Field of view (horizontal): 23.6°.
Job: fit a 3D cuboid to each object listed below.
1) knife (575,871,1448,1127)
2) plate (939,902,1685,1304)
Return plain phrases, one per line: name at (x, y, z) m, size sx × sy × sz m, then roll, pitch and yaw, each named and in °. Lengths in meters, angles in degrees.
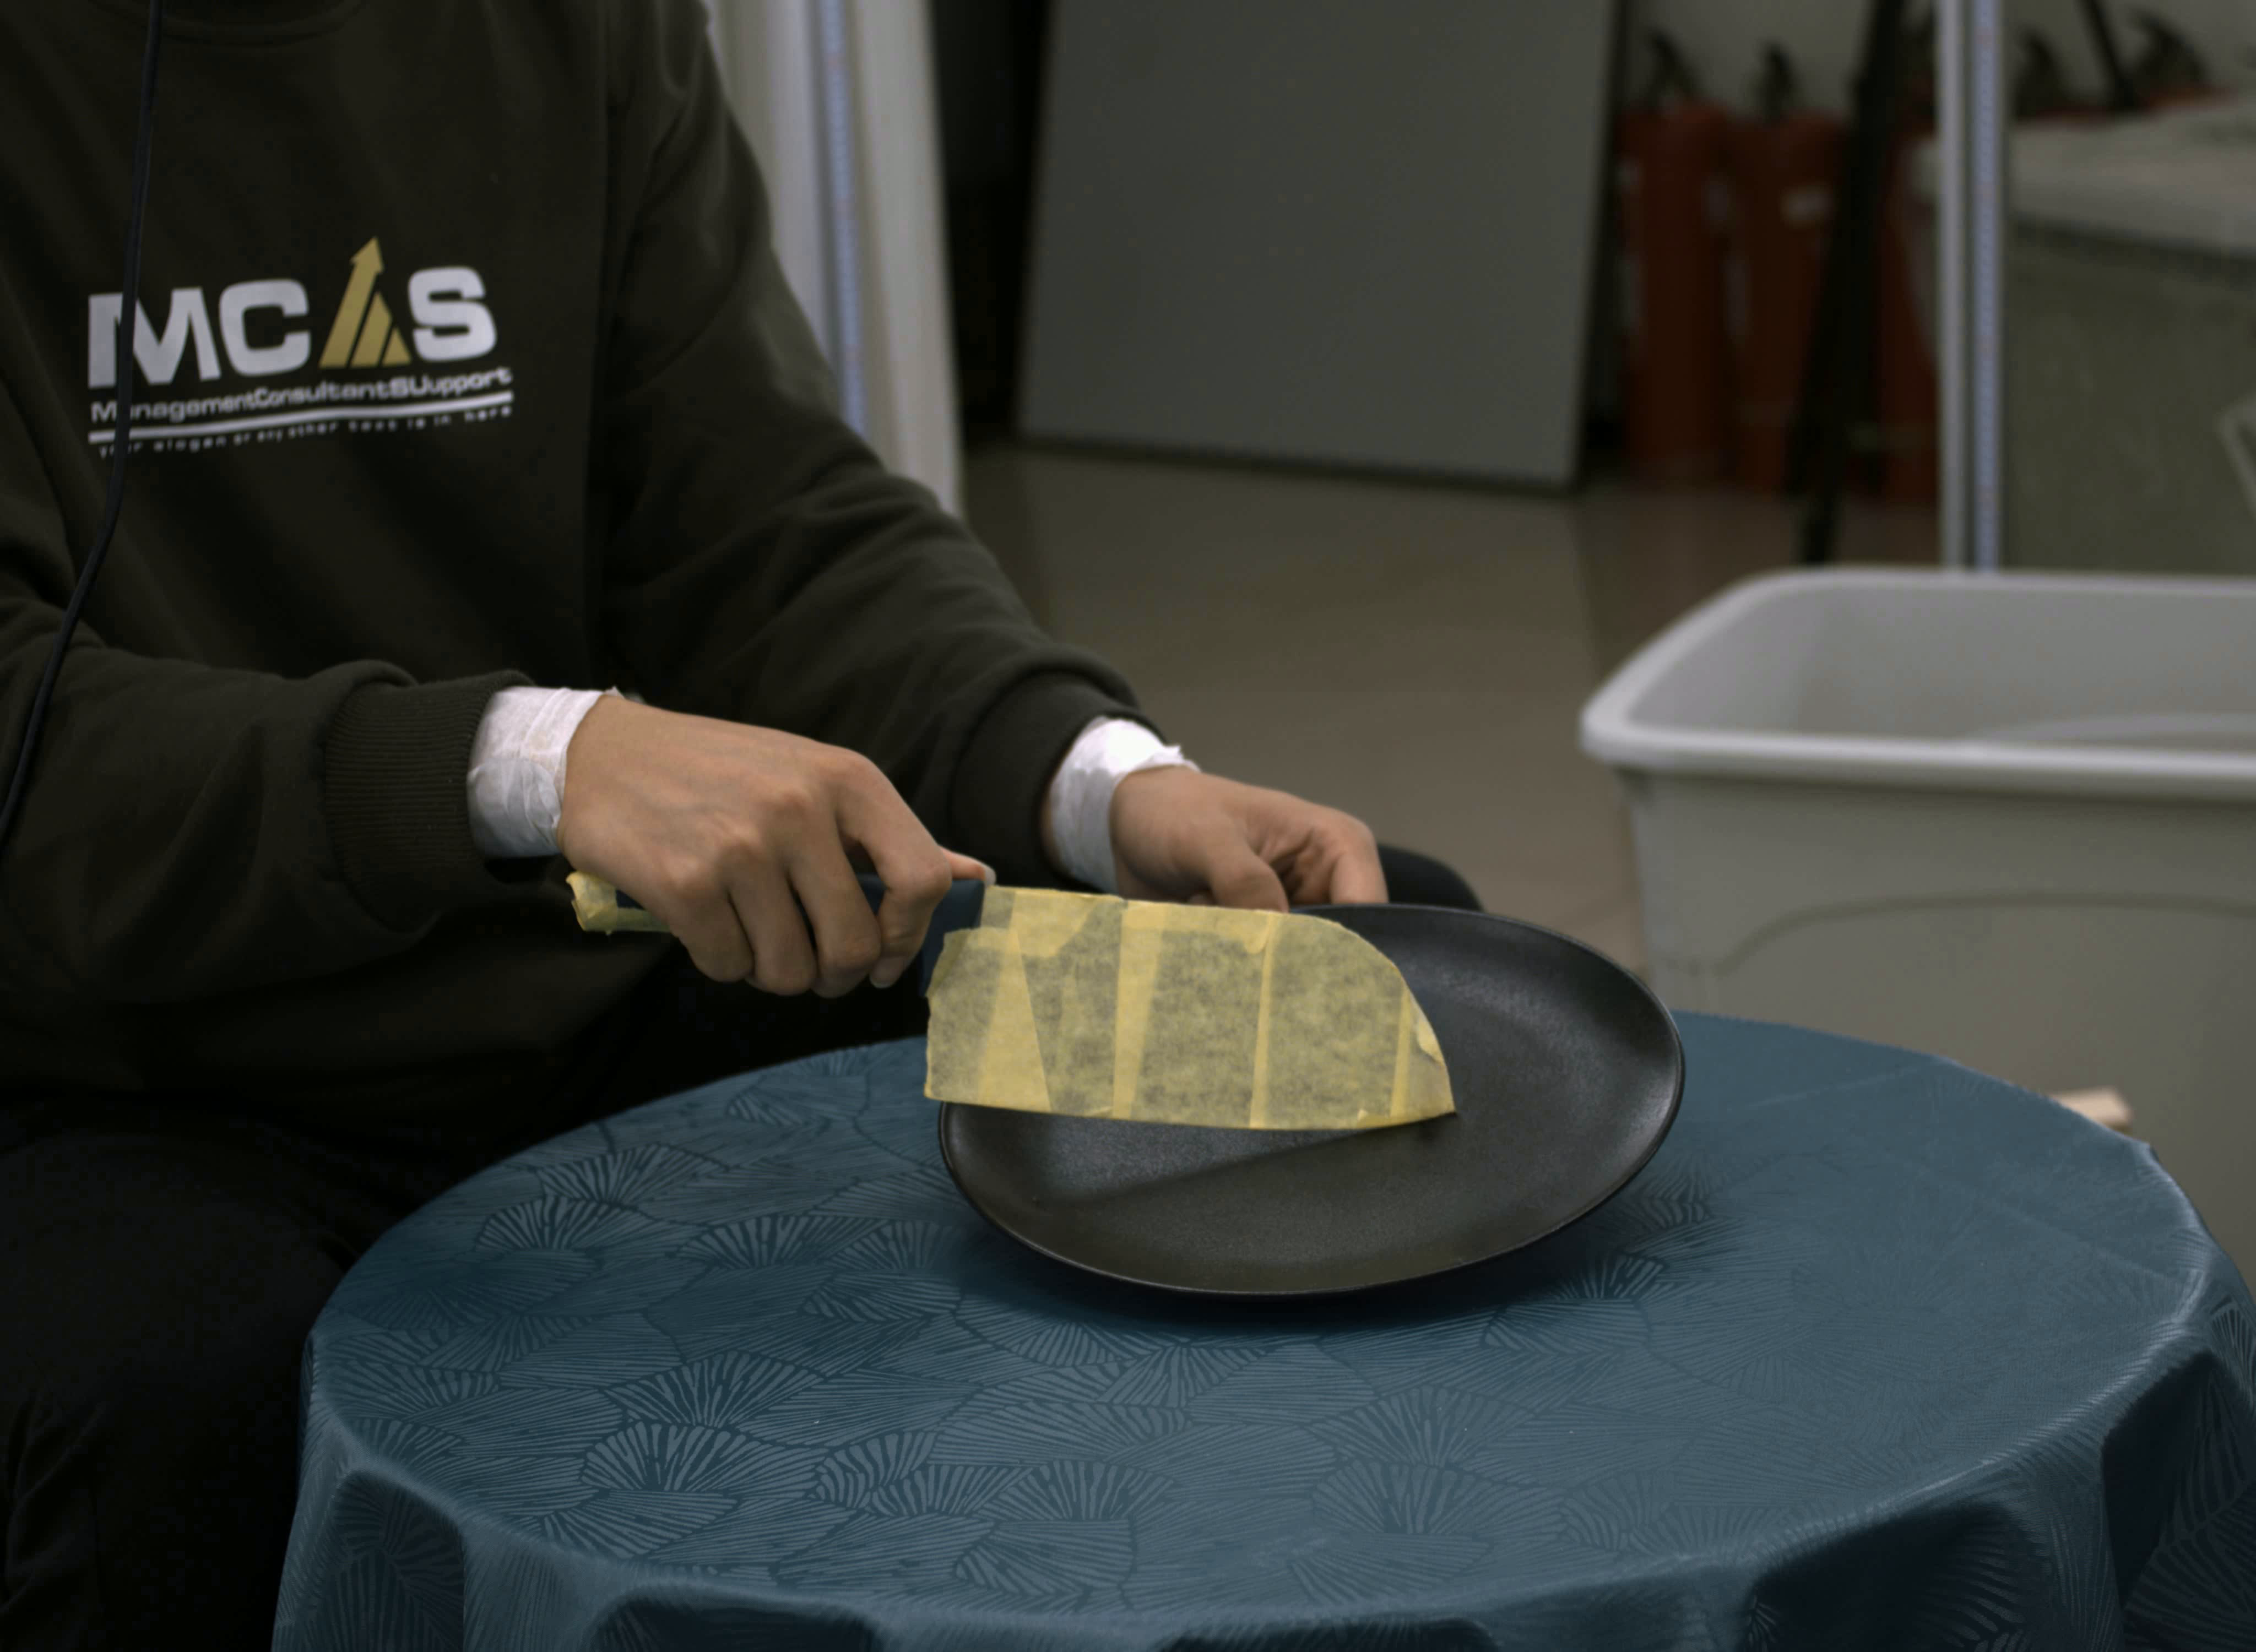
knife at (-0.038, 0.055, 1.733) m, size 0.286 × 0.082 × 0.027 m, roll 7°, pitch -16°, yaw 3°
plate at (0.060, 0.093, 1.733) m, size 0.241 × 0.023 × 0.245 m, roll -7°, pitch 28°, yaw 3°
